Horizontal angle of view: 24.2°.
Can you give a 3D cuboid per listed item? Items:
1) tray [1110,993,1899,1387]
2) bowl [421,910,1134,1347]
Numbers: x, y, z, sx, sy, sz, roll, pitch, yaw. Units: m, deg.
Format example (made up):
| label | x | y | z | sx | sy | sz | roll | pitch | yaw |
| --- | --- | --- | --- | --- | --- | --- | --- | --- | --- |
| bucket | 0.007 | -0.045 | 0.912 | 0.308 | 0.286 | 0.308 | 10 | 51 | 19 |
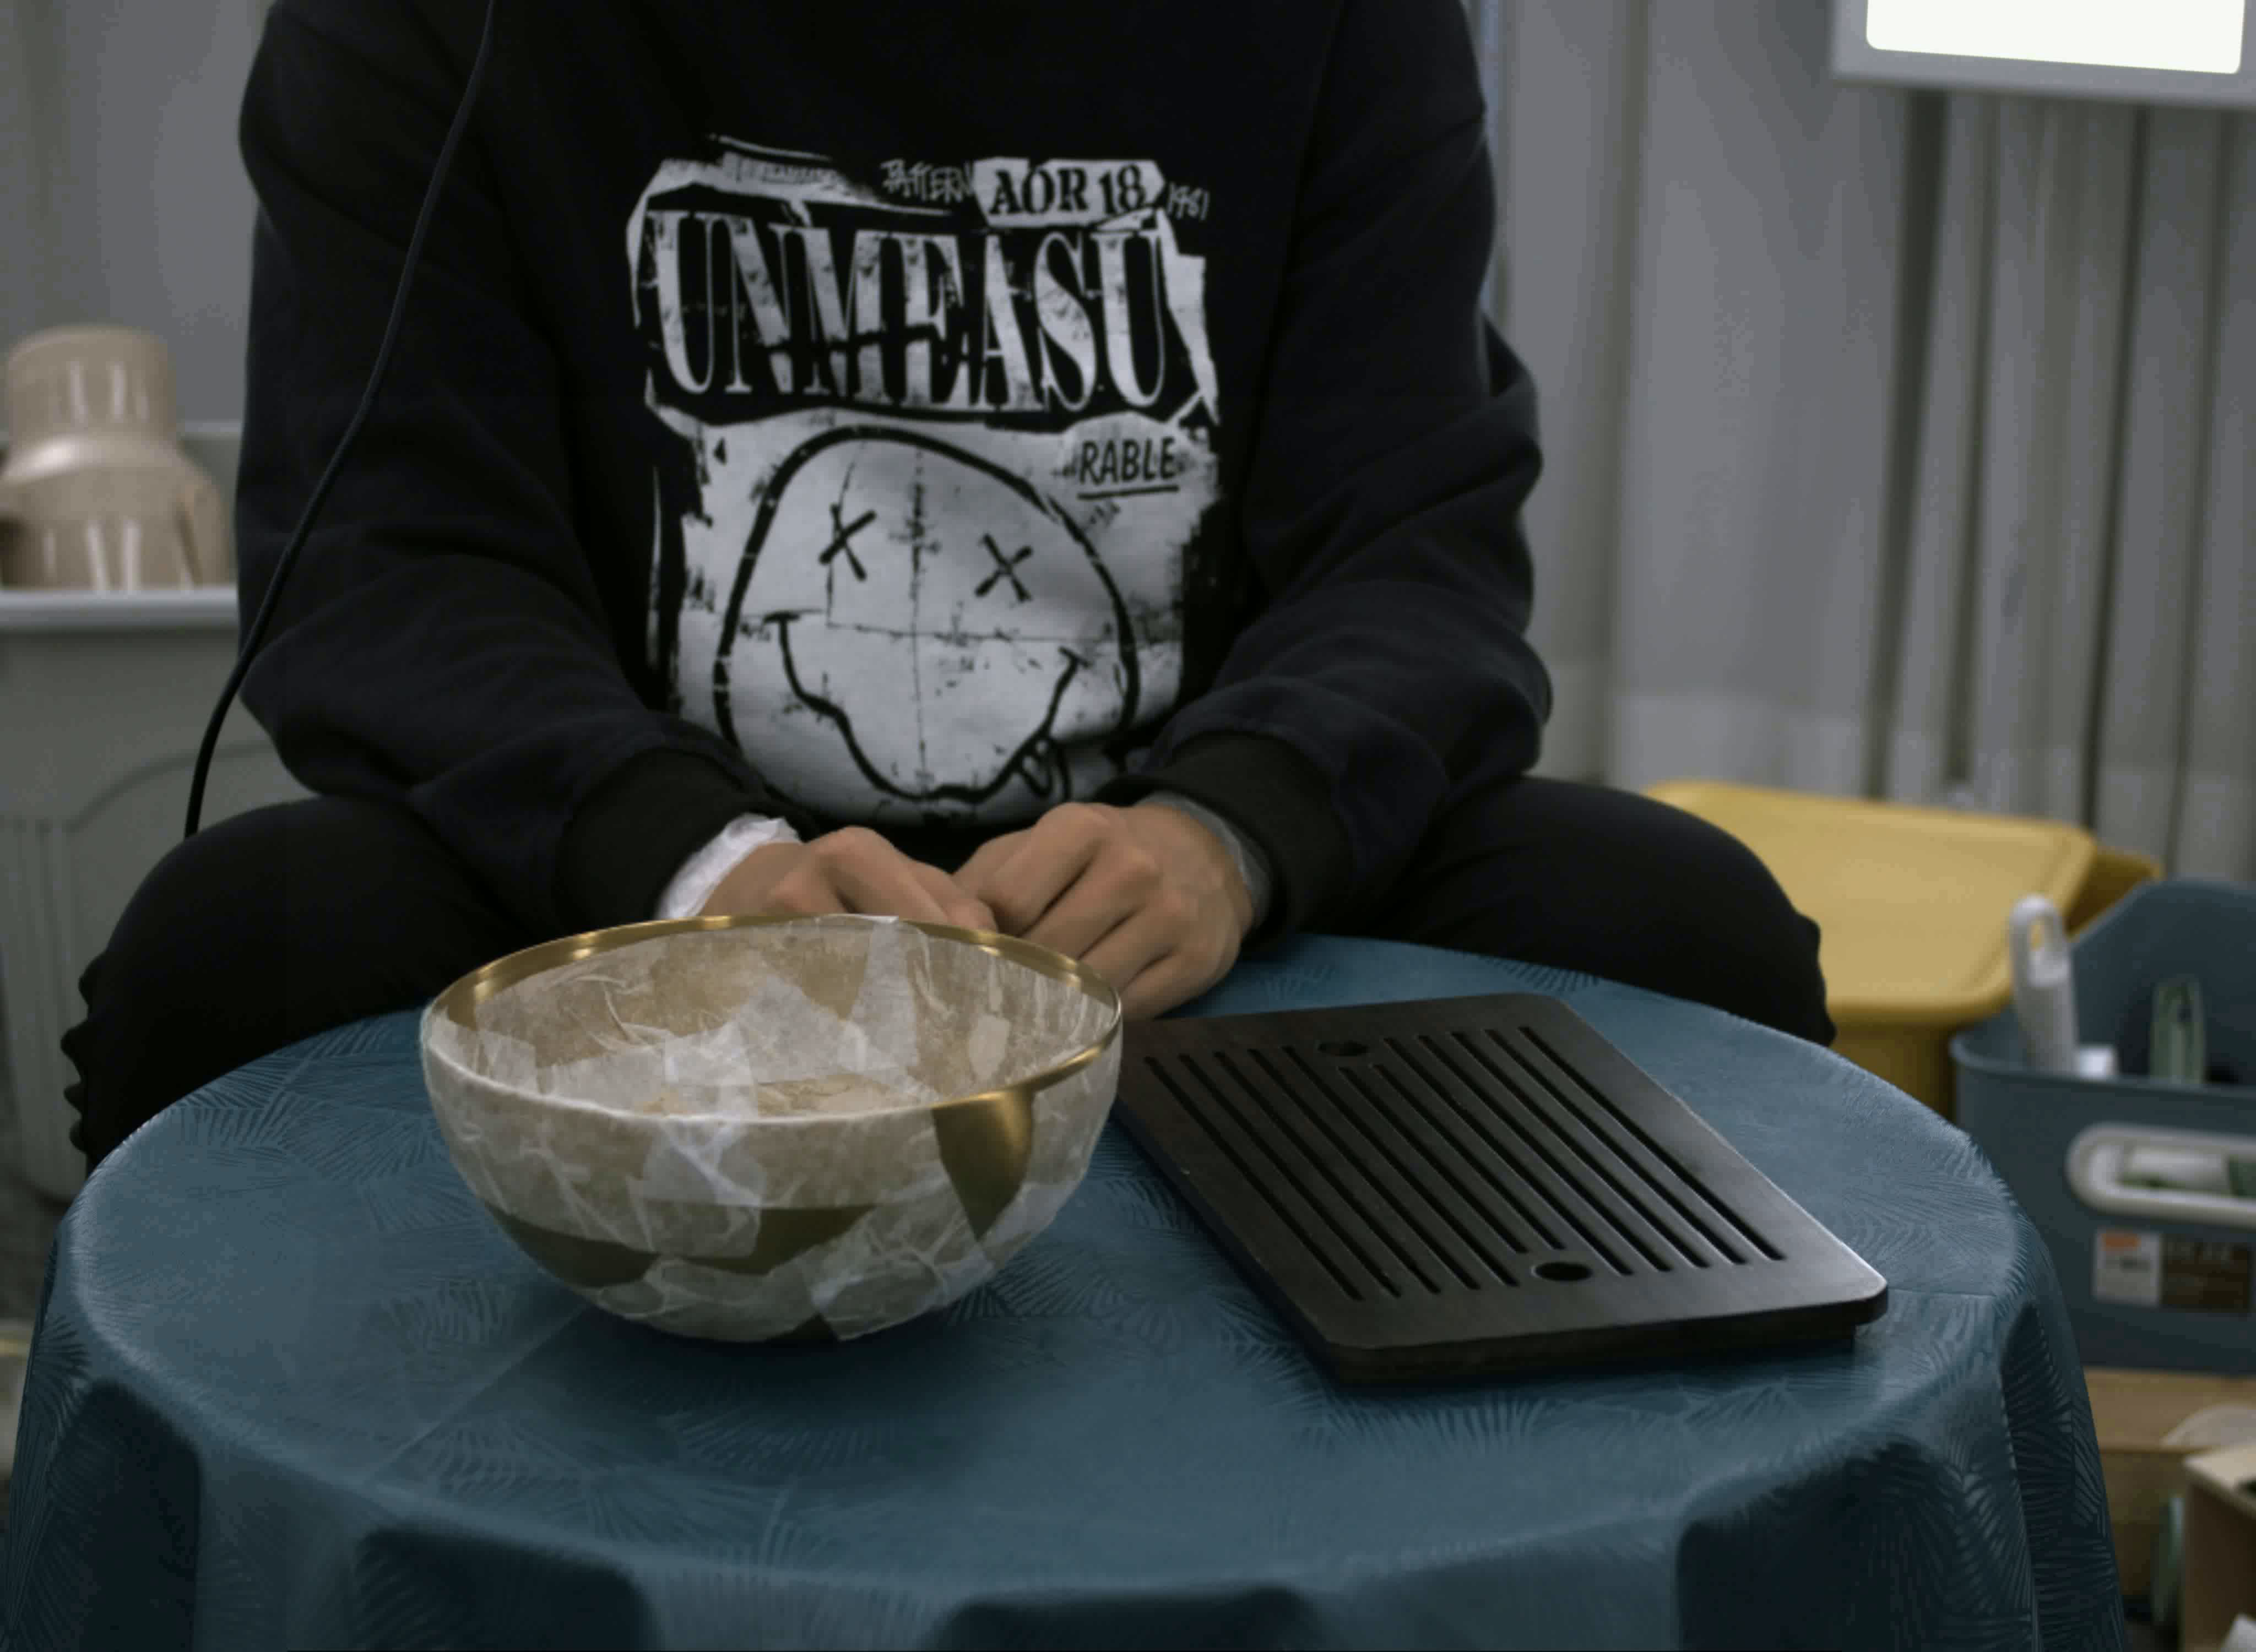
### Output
| label | x | y | z | sx | sy | sz | roll | pitch | yaw |
| --- | --- | --- | --- | --- | --- | --- | --- | --- | --- |
| tray | 0.102 | 0.108 | 1.615 | 0.170 | 0.019 | 0.303 | -4 | 16 | -15 |
| bowl | -0.097 | 0.094 | 1.517 | 0.214 | 0.095 | 0.213 | 0 | 15 | 1 |
